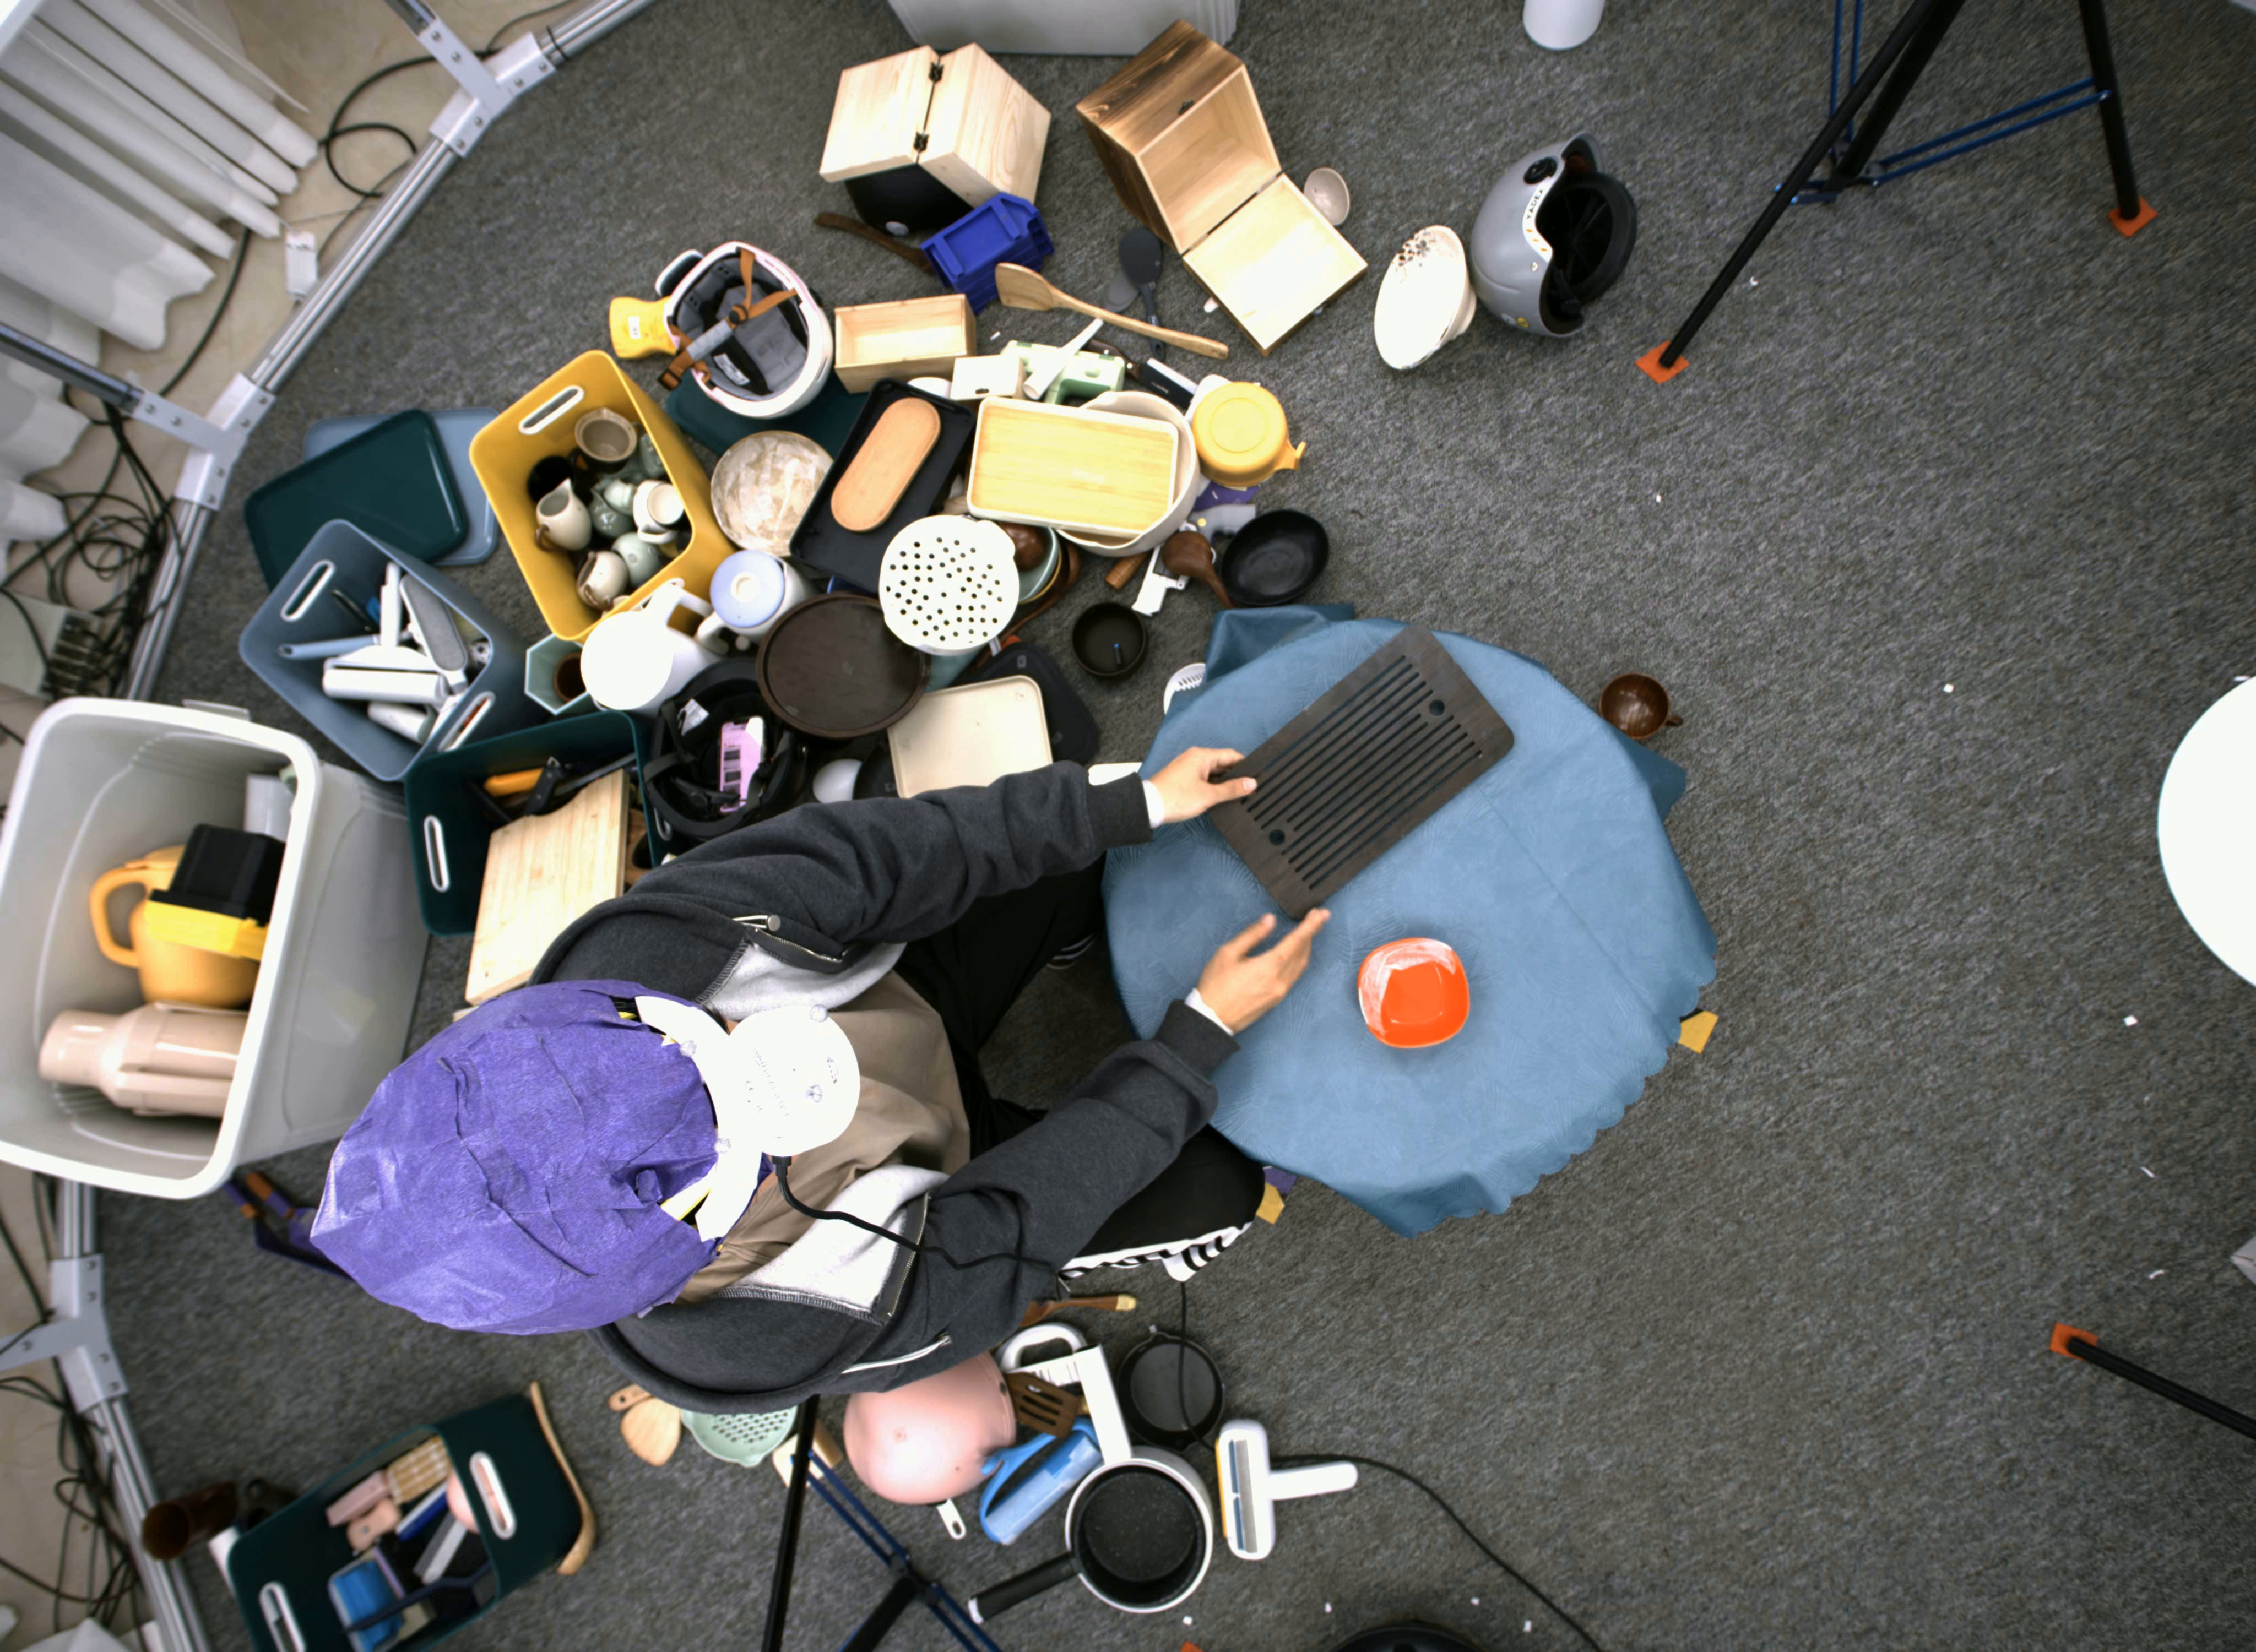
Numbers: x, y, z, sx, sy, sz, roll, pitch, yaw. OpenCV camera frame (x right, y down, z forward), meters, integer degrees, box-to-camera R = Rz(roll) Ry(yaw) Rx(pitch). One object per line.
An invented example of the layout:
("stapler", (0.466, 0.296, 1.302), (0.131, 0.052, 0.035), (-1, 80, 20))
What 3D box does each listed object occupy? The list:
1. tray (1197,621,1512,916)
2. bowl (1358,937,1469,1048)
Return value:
("tray", (0.237, -0.061, 1.450), (0.307, 0.018, 0.170), (-39, 90, 6))
("bowl", (0.293, 0.170, 1.422), (0.119, 0.051, 0.118), (-1, 87, 9))
